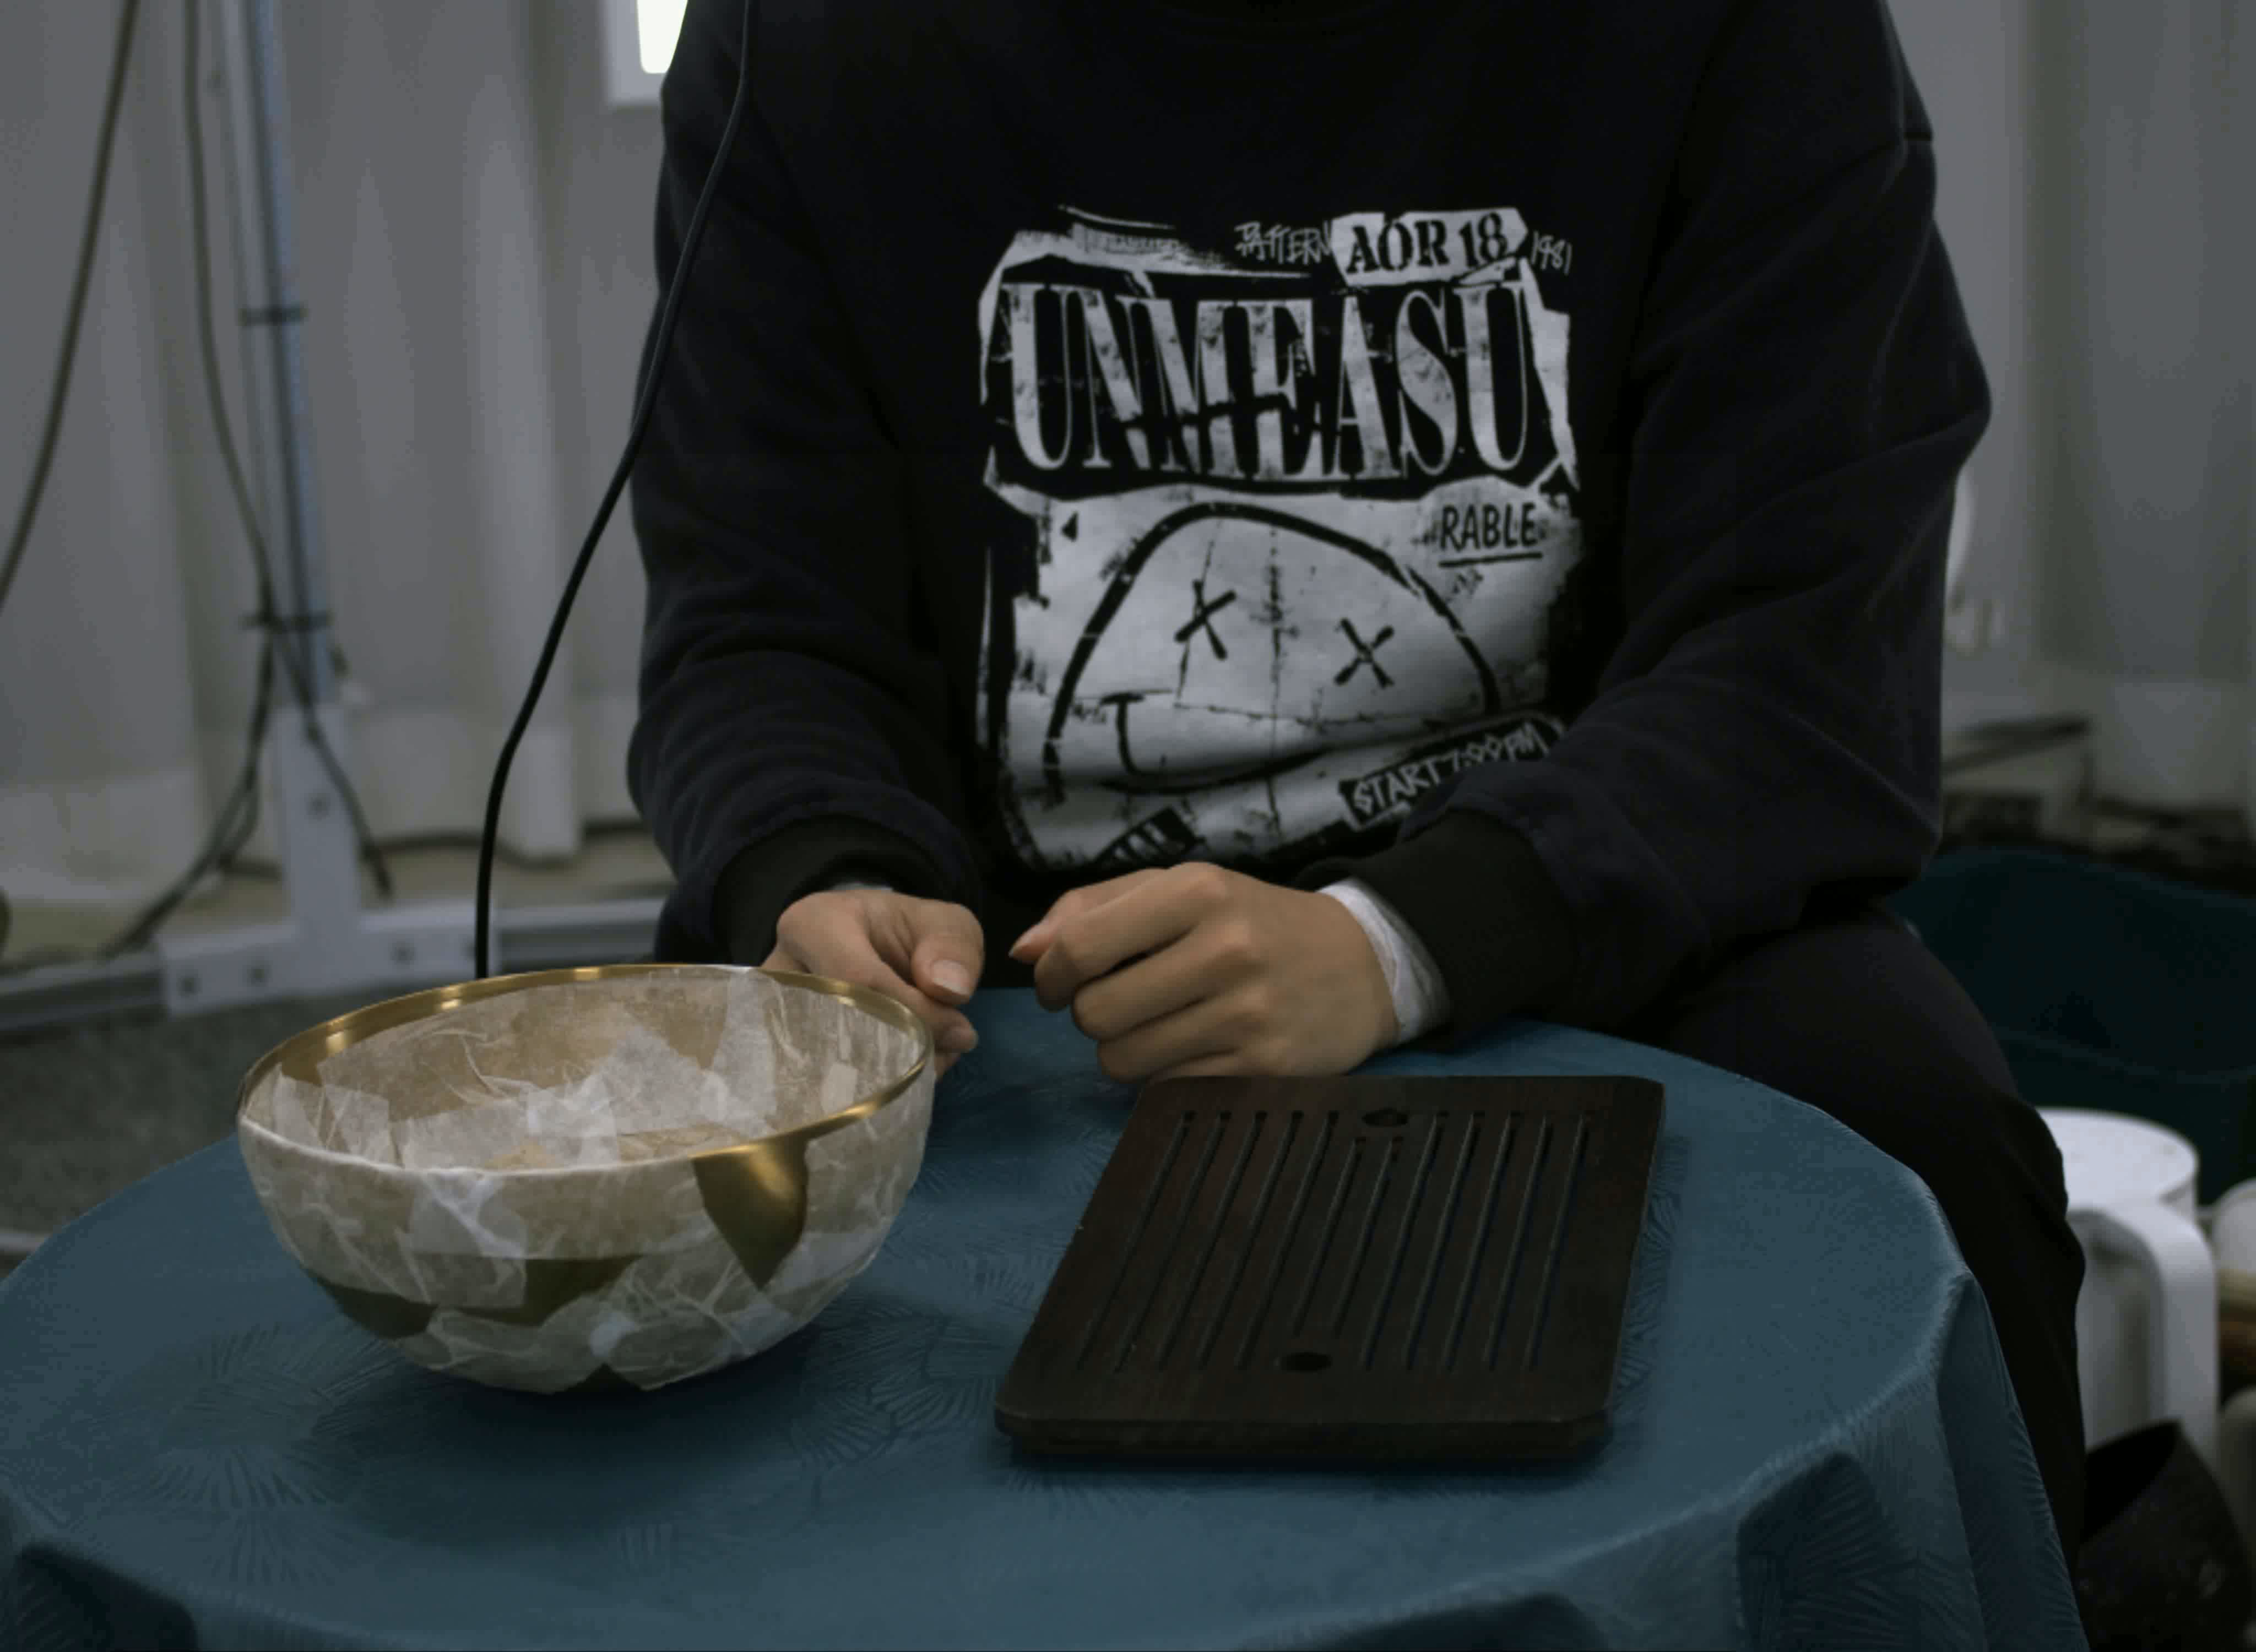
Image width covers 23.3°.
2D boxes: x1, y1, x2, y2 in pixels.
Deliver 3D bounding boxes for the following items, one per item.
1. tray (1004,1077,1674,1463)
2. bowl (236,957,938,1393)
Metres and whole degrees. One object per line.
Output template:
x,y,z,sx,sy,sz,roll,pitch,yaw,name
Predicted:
0.070,0.129,1.616,0.170,0.018,0.307,0,15,9,tray
-0.149,0.109,1.586,0.214,0.094,0.216,-4,14,1,bowl
